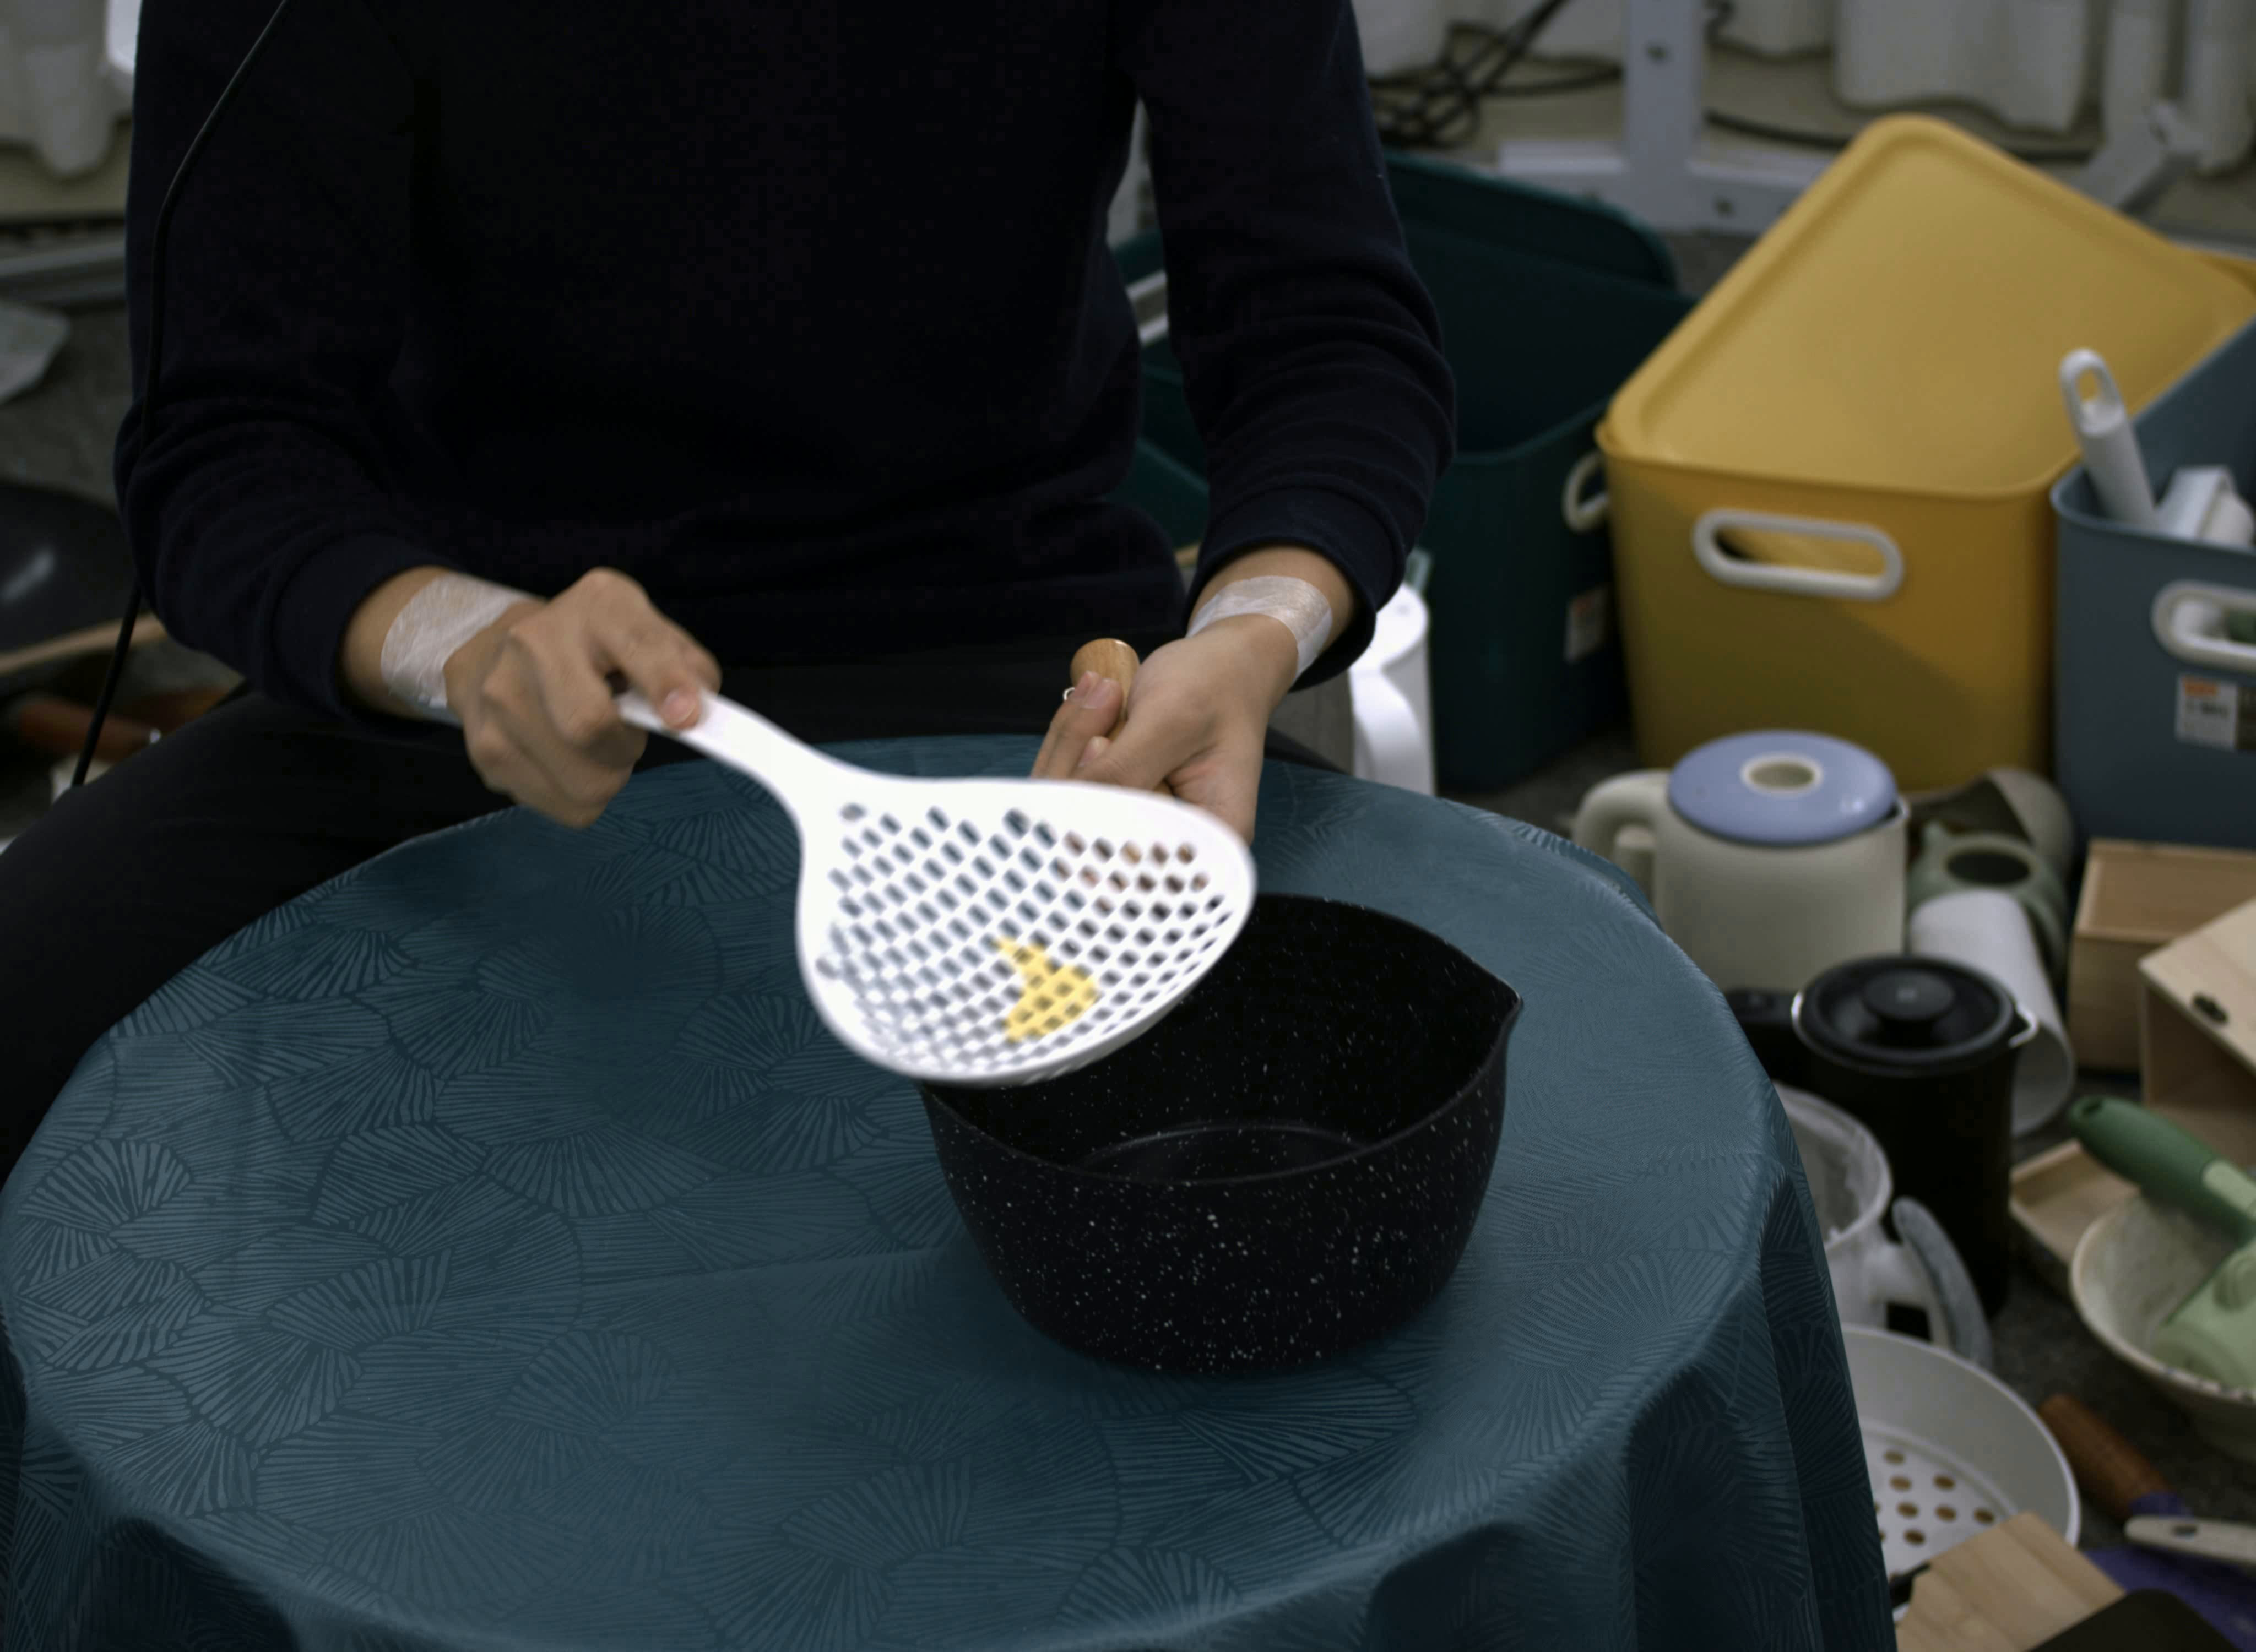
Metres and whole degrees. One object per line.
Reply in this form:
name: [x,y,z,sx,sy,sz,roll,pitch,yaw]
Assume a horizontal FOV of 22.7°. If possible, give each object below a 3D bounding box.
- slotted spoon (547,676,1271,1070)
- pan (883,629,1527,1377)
slotted spoon: [-0.087,-0.002,1.796,0.138,0.049,0.348,-35,42,-22]
pan: [0.016,0.055,1.871,0.207,0.107,0.347,-9,29,-6]
